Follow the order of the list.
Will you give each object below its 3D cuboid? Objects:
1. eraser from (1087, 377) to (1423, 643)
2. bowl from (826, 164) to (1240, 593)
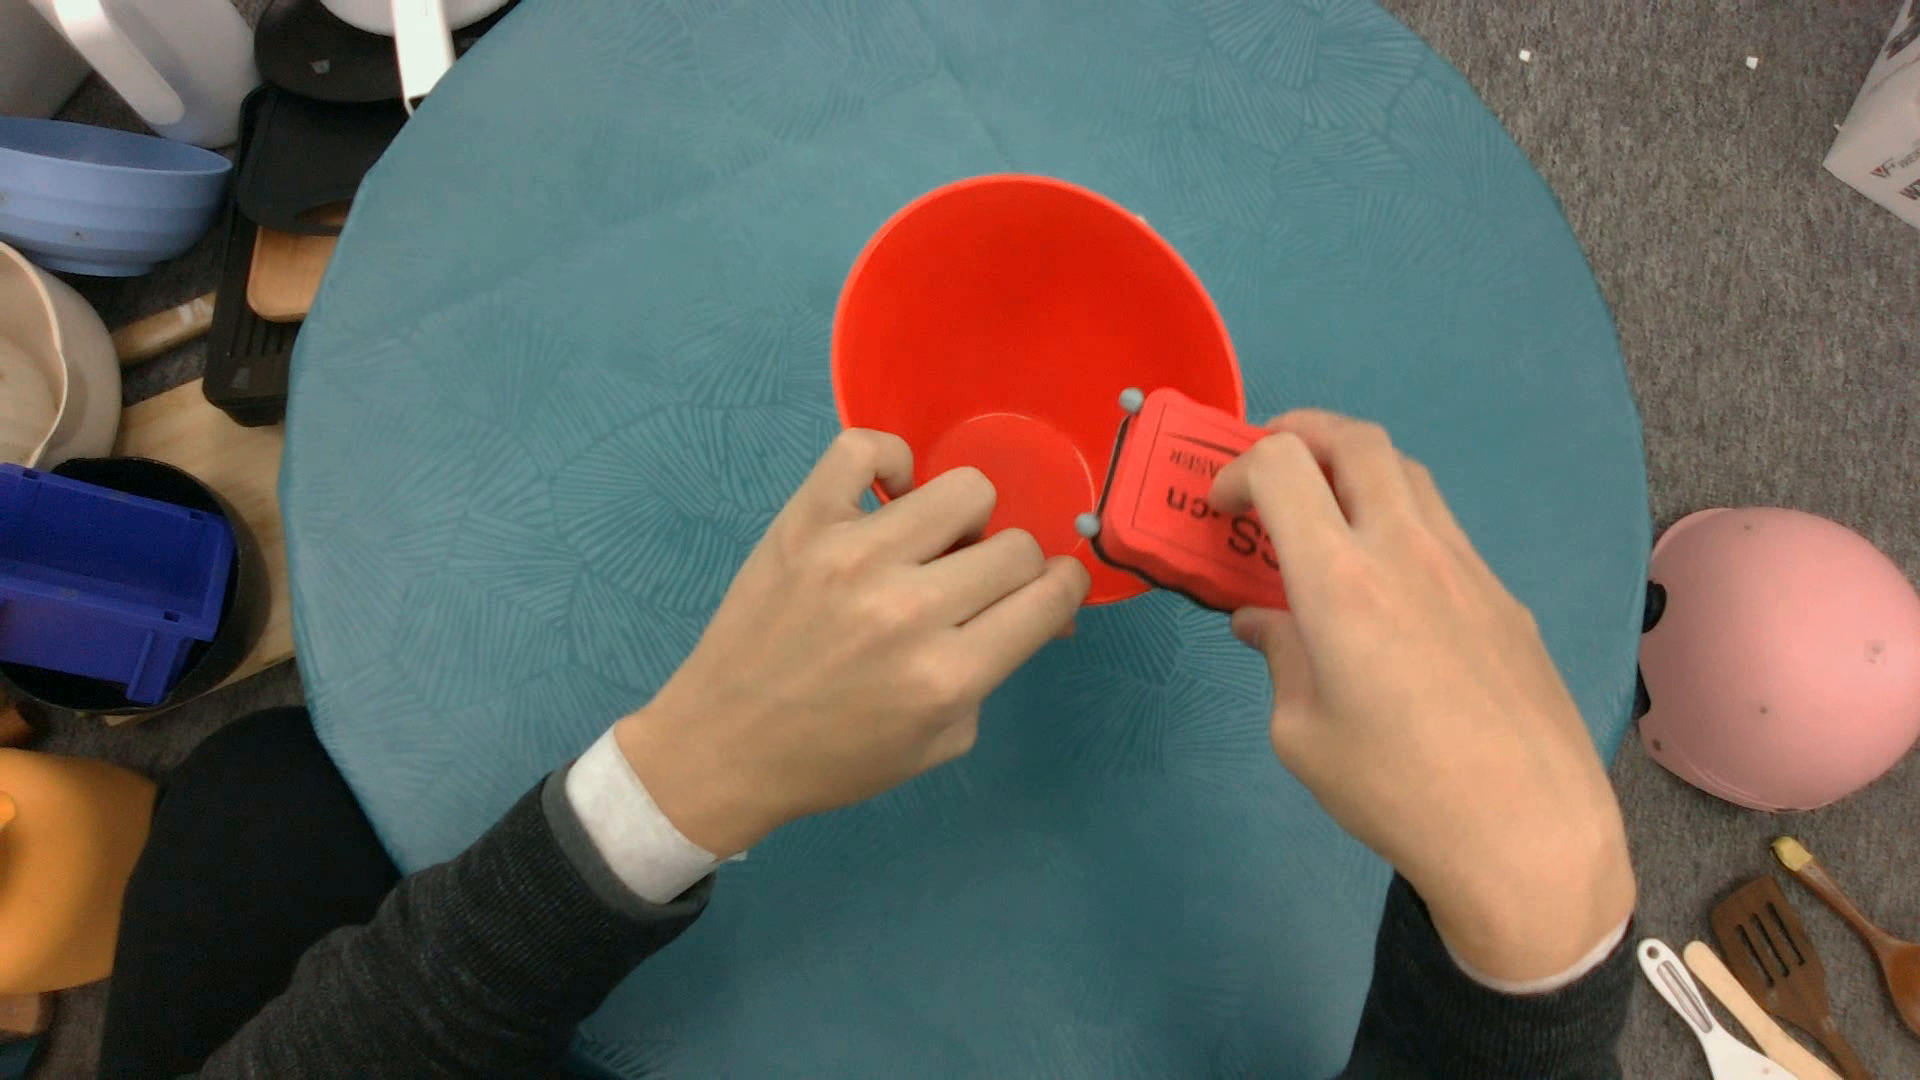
[{"bbox_3d":[0.098,-0.009,0.452,0.108,0.023,0.059,21,66,-10],"label":"eraser"},{"bbox_3d":[0.019,-0.044,0.491,0.148,0.104,0.148,4,70,-13],"label":"bowl"}]
